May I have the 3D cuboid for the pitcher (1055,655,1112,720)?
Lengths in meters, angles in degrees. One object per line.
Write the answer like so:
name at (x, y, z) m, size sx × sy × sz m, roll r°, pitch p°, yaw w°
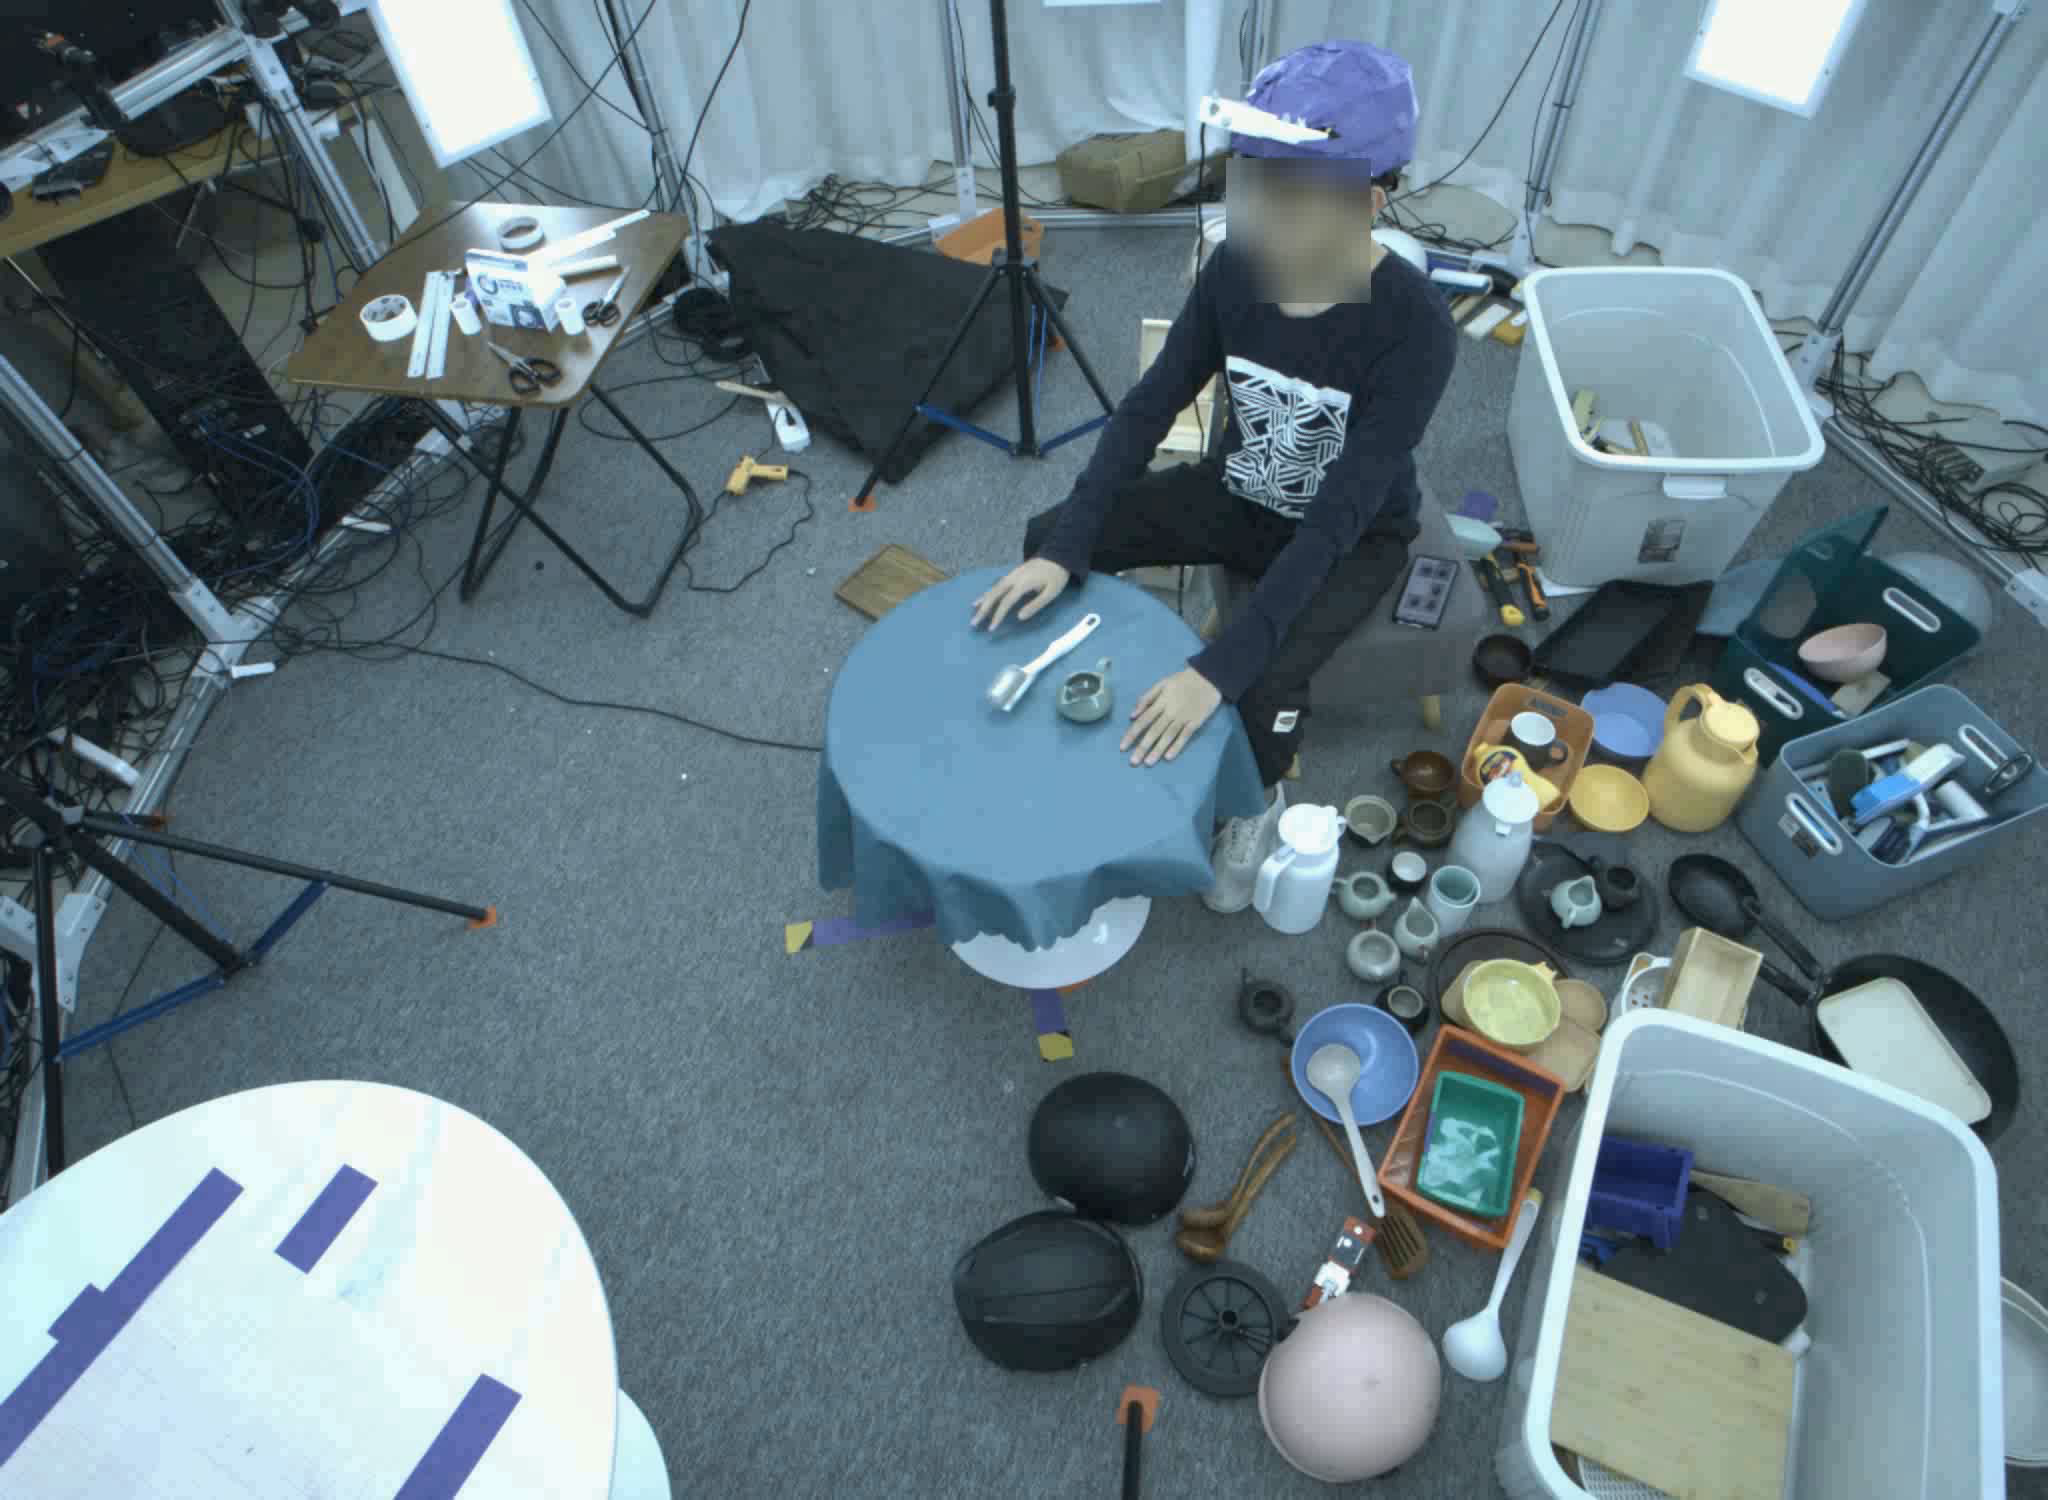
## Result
pitcher at (0.091, -0.090, 1.807) m, size 0.083 × 0.057 × 0.113 m, roll 28°, pitch 59°, yaw 19°

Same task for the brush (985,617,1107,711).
brush at (0.037, -0.143, 1.852) m, size 0.034 × 0.051 × 0.245 m, roll 35°, pitch 63°, yaw 30°
